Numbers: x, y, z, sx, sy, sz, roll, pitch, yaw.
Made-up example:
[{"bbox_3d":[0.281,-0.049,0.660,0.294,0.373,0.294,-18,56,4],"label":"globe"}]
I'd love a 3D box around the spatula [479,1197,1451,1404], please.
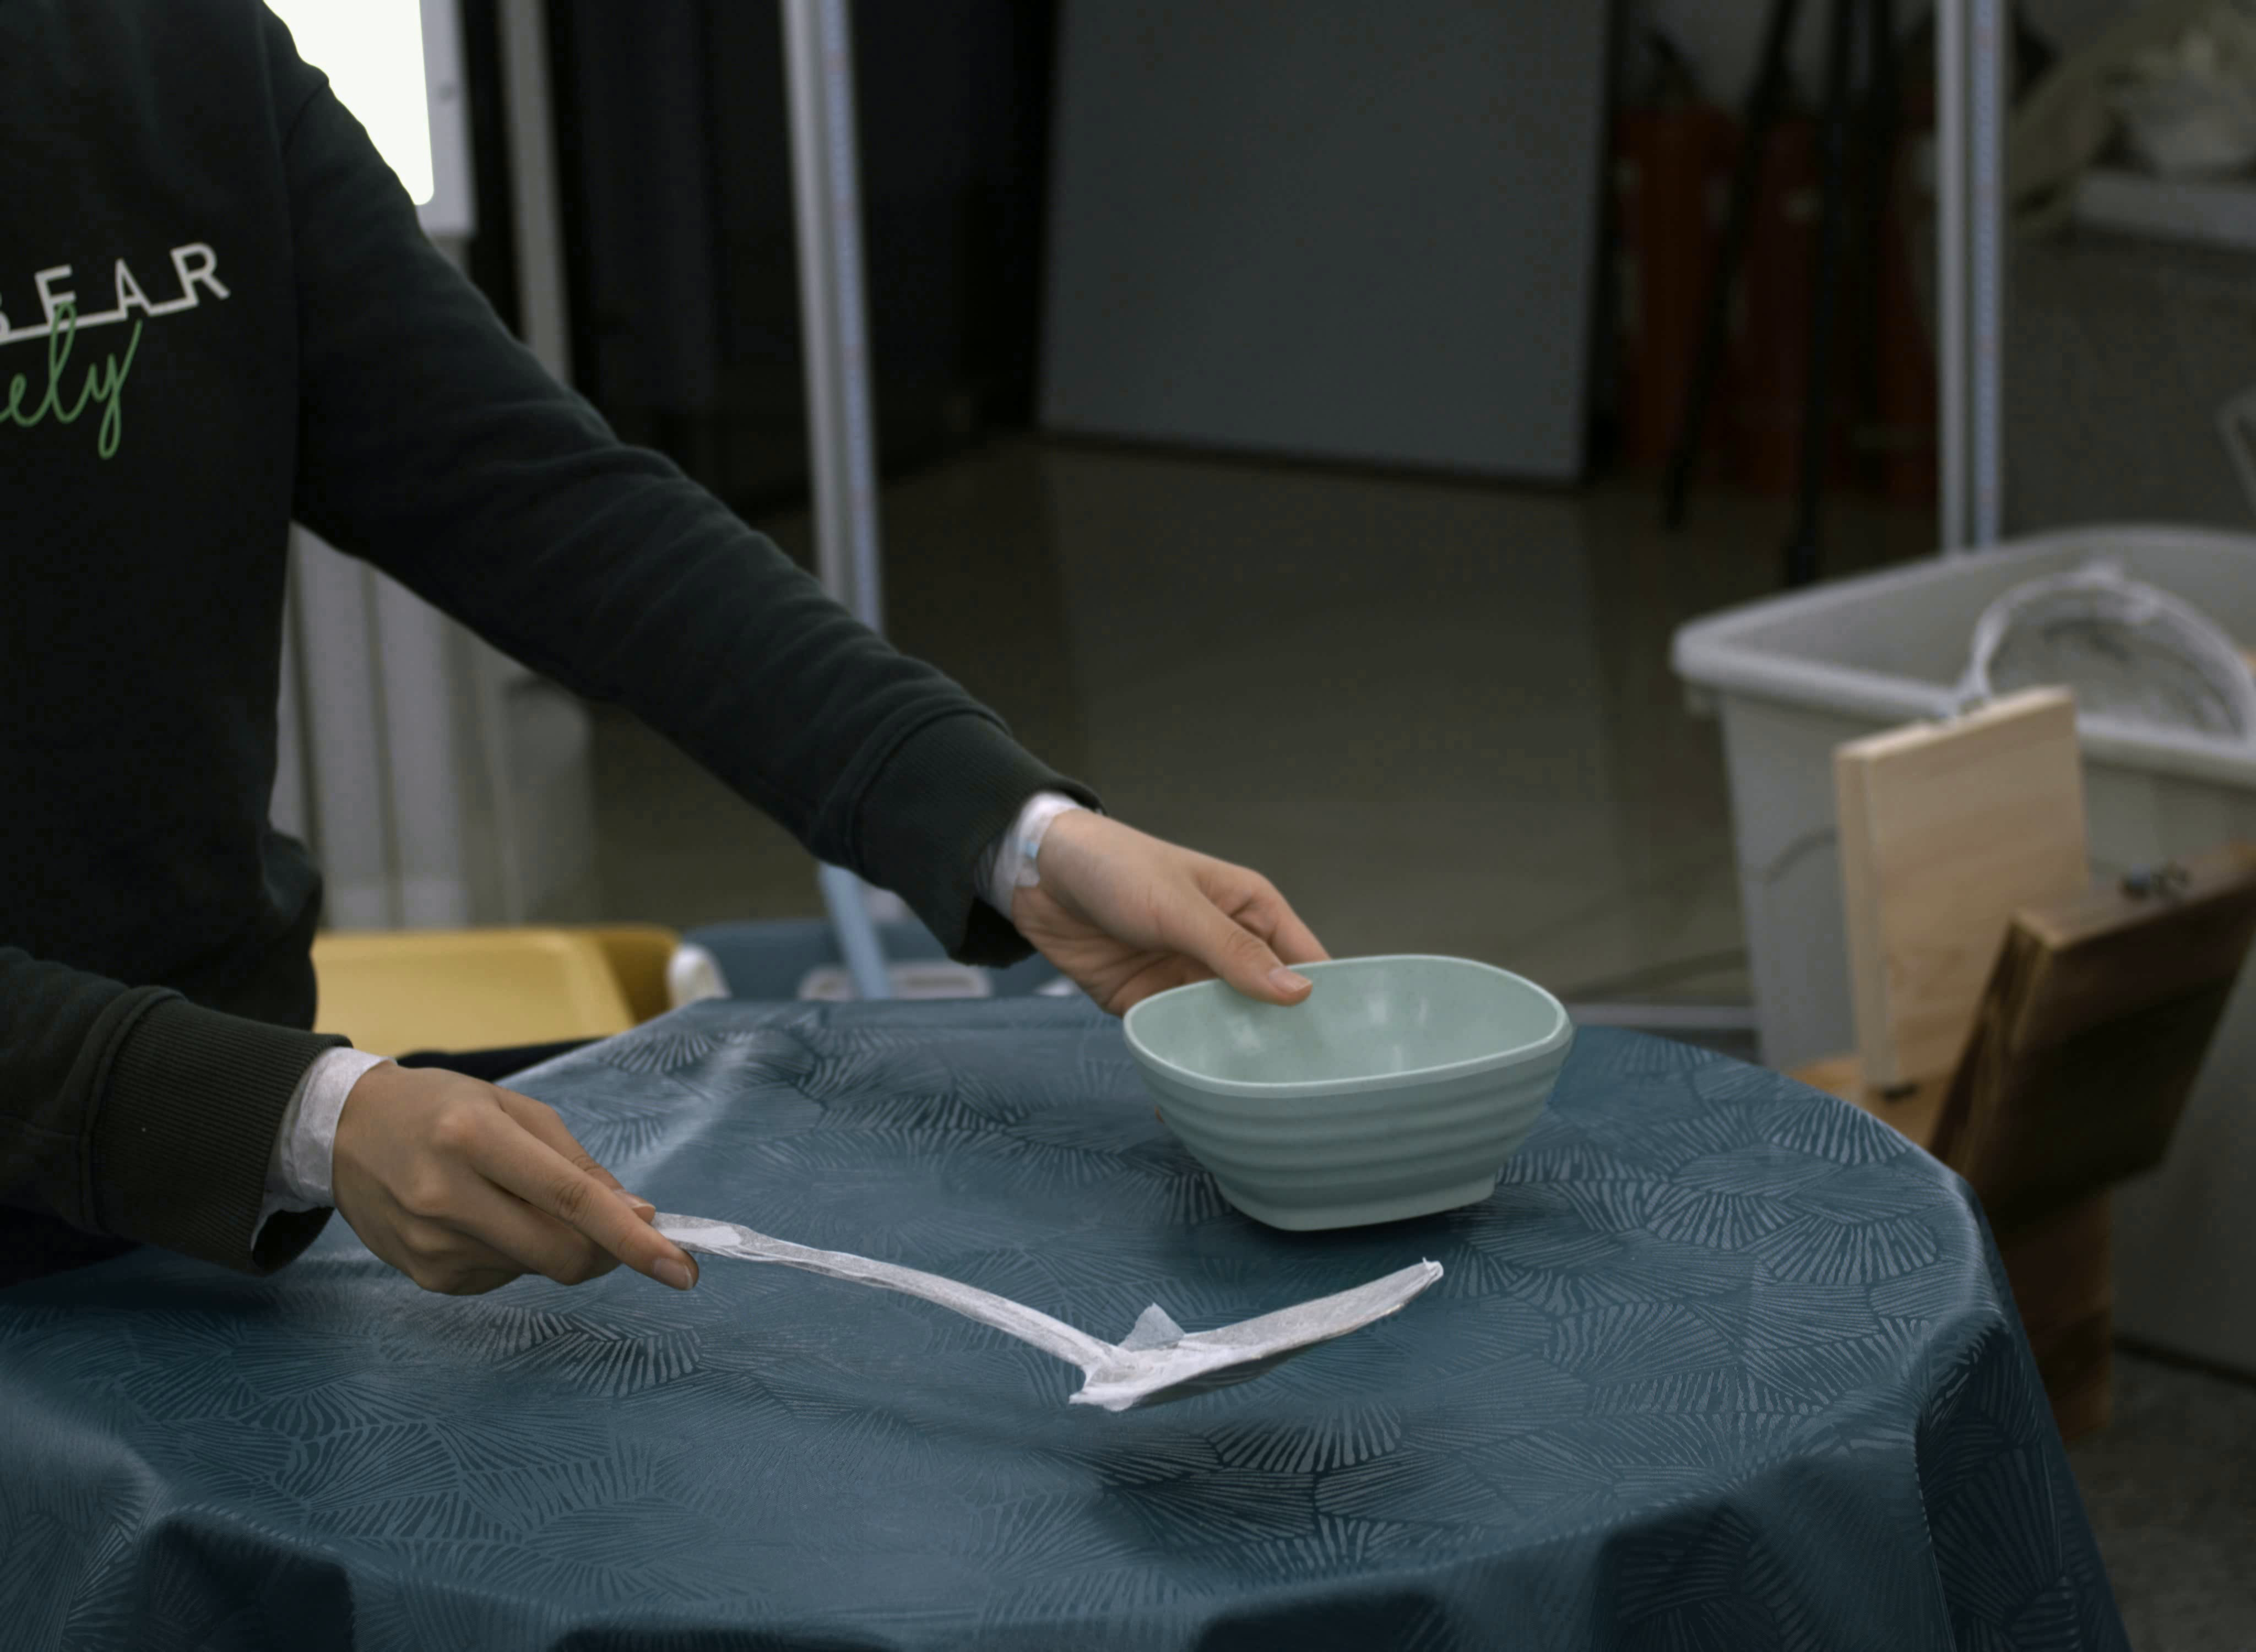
[{"bbox_3d":[-0.068,0.128,1.589,0.367,0.045,0.097,9,20,38],"label":"spatula"}]

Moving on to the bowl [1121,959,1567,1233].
[{"bbox_3d":[0.069,0.090,1.735,0.149,0.059,0.152,-2,13,0],"label":"bowl"}]
